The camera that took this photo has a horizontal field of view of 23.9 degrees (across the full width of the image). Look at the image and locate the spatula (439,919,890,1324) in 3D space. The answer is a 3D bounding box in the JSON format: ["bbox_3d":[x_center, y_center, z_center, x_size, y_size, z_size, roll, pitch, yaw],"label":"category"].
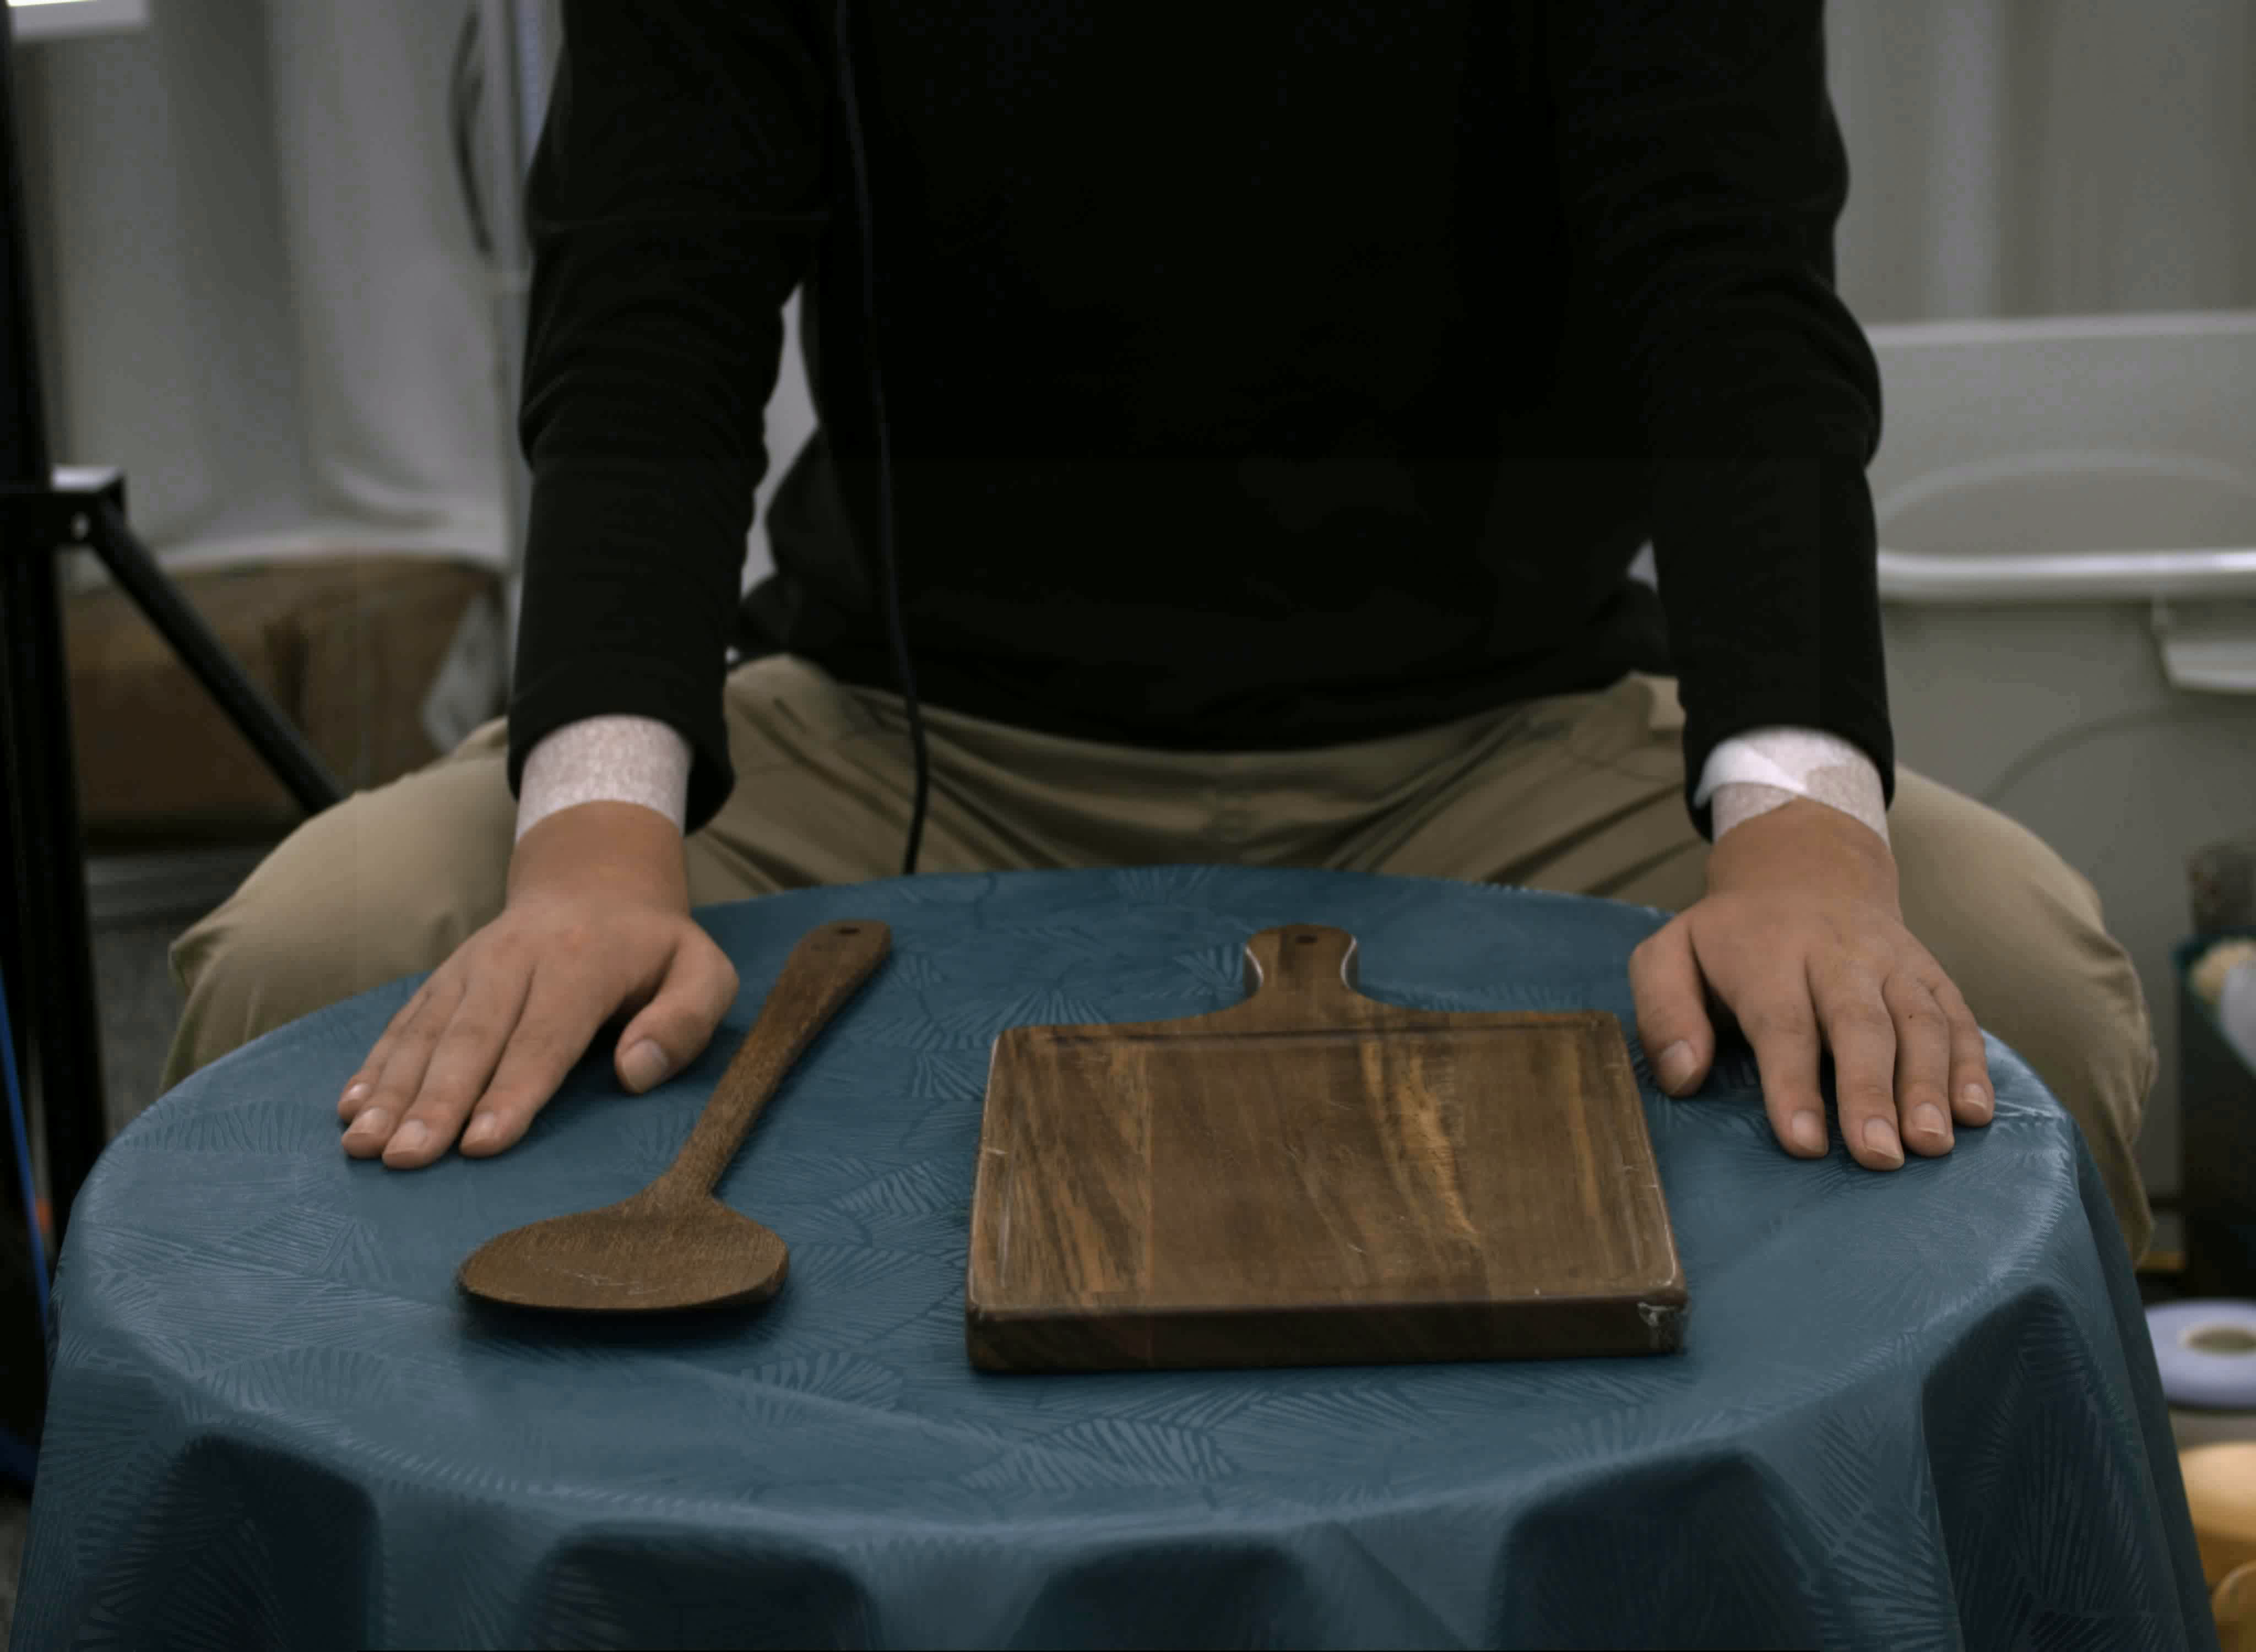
[{"bbox_3d":[-0.120,0.084,1.635,0.096,0.016,0.384,0,16,9],"label":"spatula"}]

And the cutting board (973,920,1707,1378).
[{"bbox_3d":[0.055,0.089,1.579,0.200,0.023,0.353,-2,16,1],"label":"cutting board"}]
